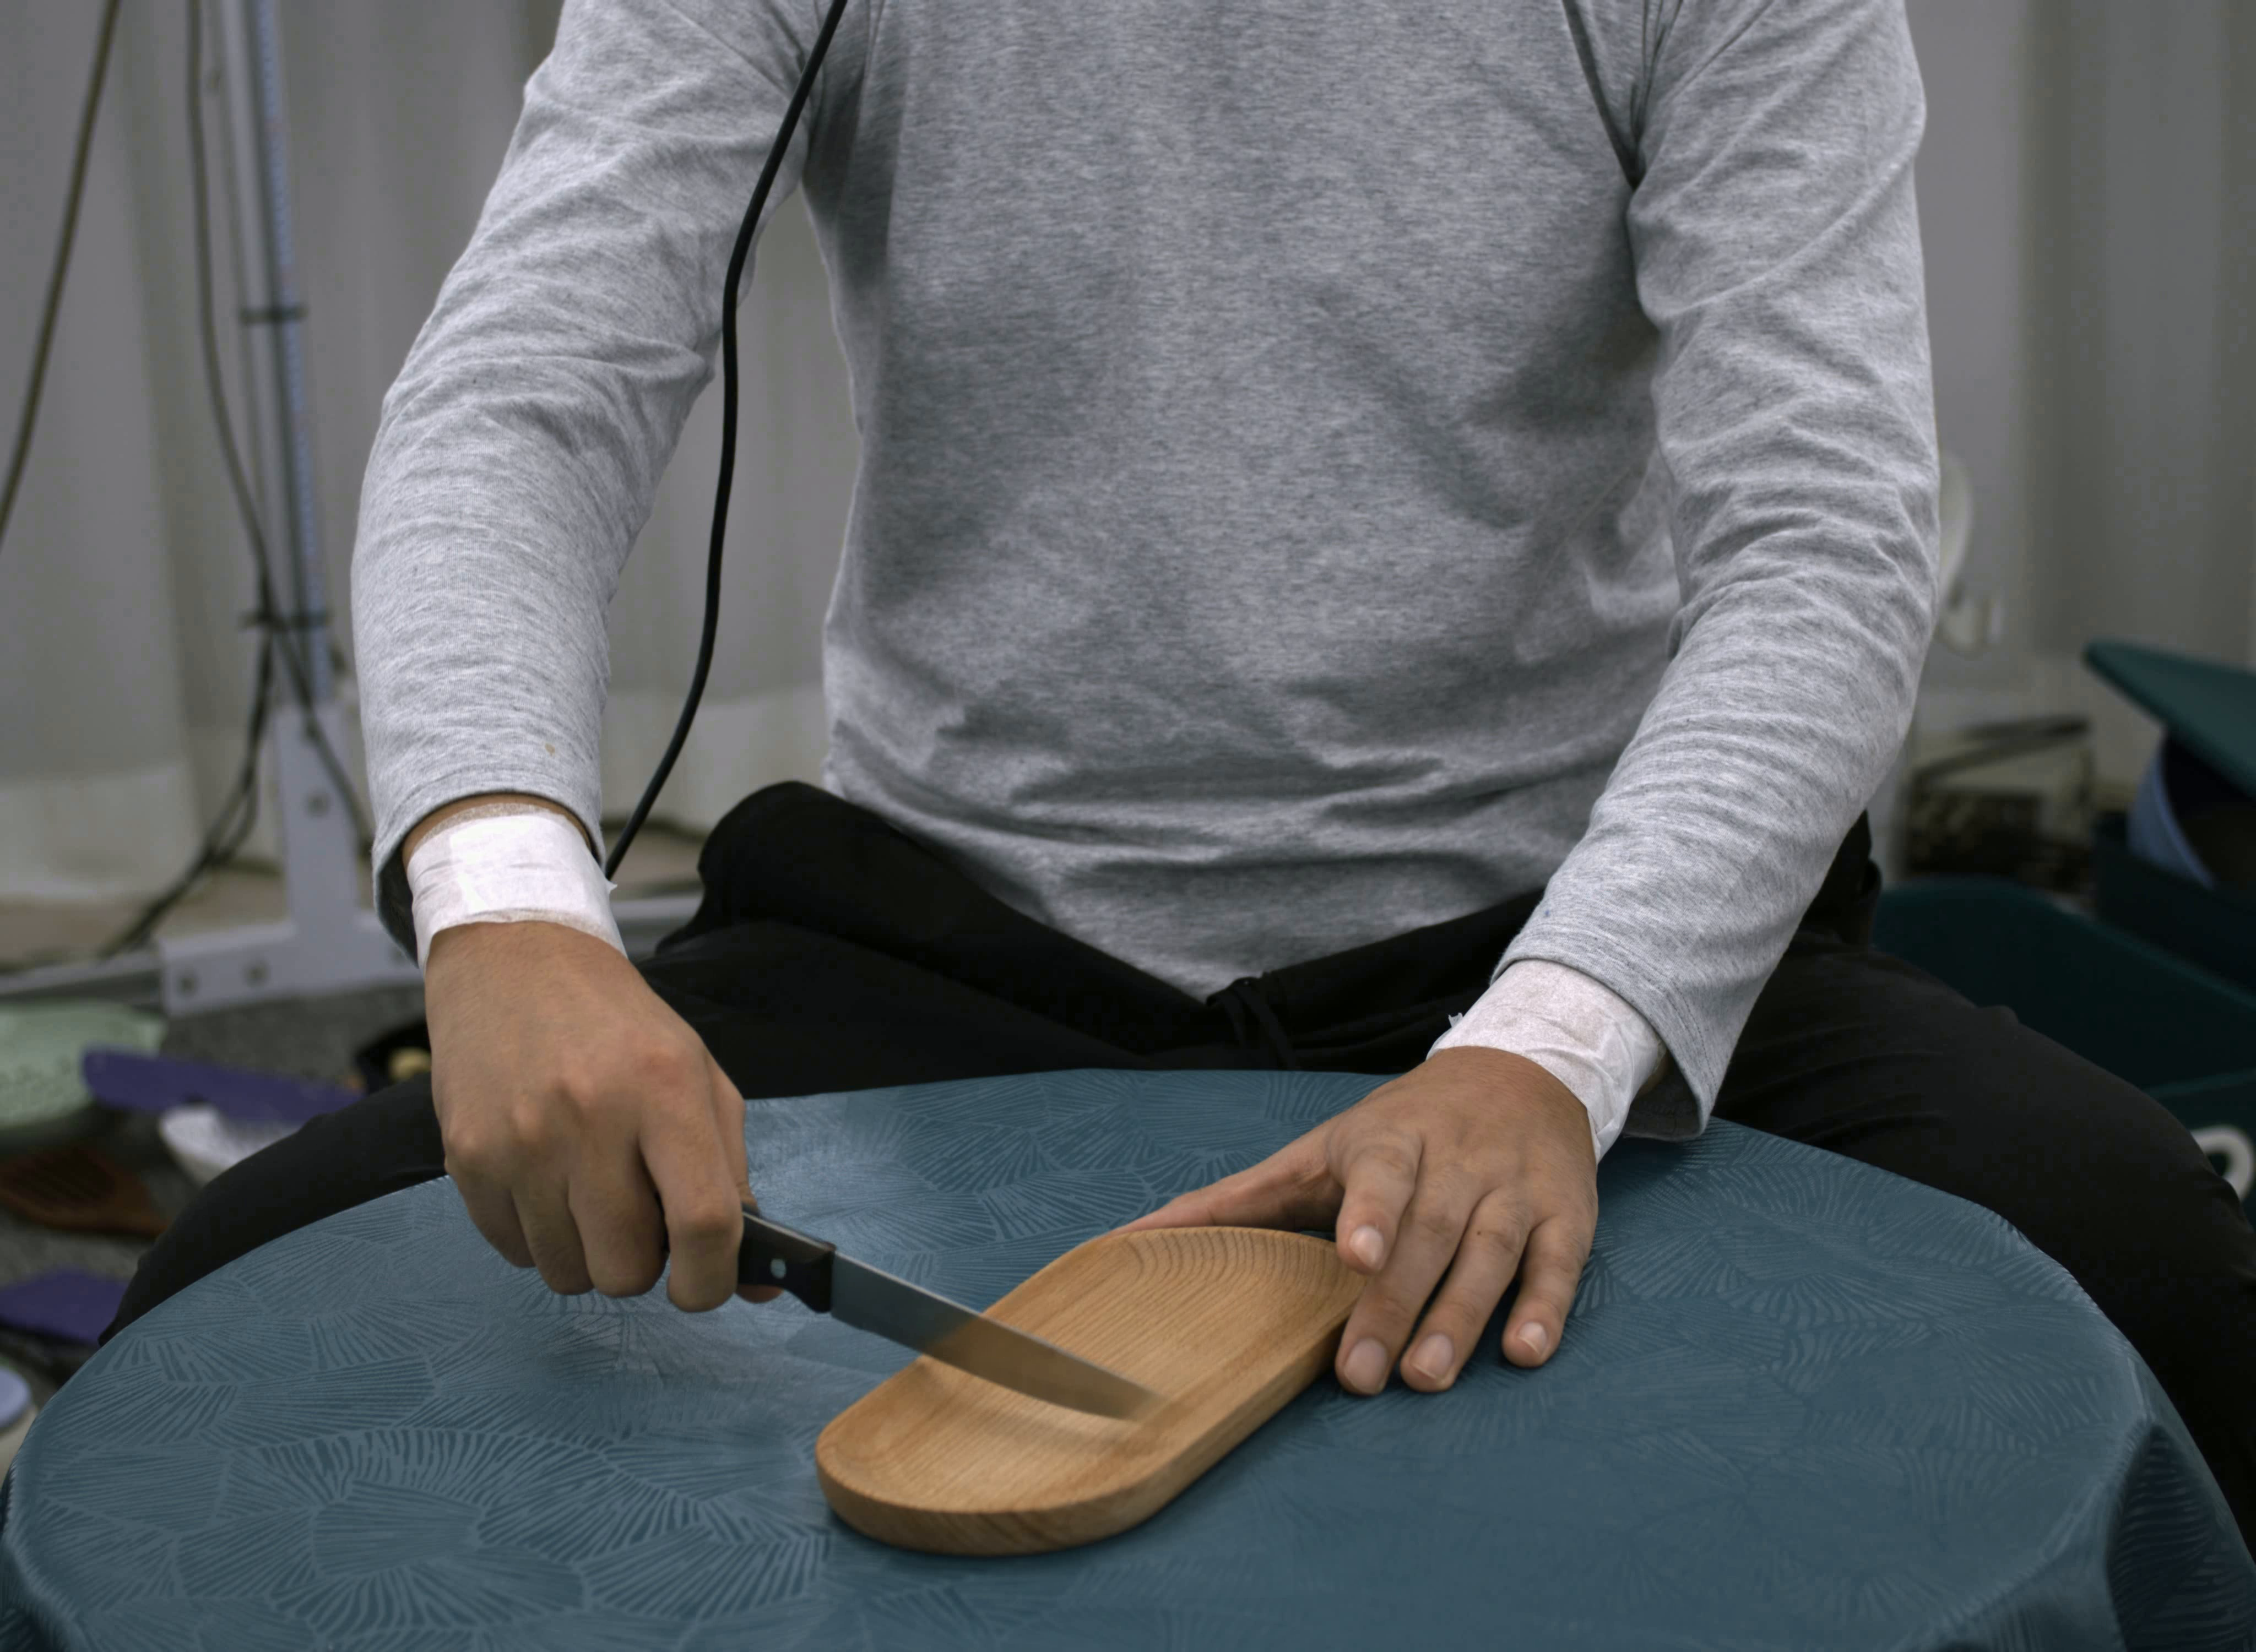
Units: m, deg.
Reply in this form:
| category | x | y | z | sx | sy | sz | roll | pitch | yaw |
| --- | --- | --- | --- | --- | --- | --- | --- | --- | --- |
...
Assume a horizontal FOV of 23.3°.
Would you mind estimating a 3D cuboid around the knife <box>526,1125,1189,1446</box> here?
| category | x | y | z | sx | sy | sz | roll | pitch | yaw |
| --- | --- | --- | --- | --- | --- | --- | --- | --- | --- |
| knife | -0.078 | 0.129 | 1.538 | 0.239 | 0.024 | 0.016 | 21 | 32 | 31 |

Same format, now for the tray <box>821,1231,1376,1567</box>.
| category | x | y | z | sx | sy | sz | roll | pitch | yaw |
| --- | --- | --- | --- | --- | --- | --- | --- | --- | --- |
| tray | -0.005 | 0.158 | 1.527 | 0.102 | 0.020 | 0.232 | 3 | 17 | 24 |
